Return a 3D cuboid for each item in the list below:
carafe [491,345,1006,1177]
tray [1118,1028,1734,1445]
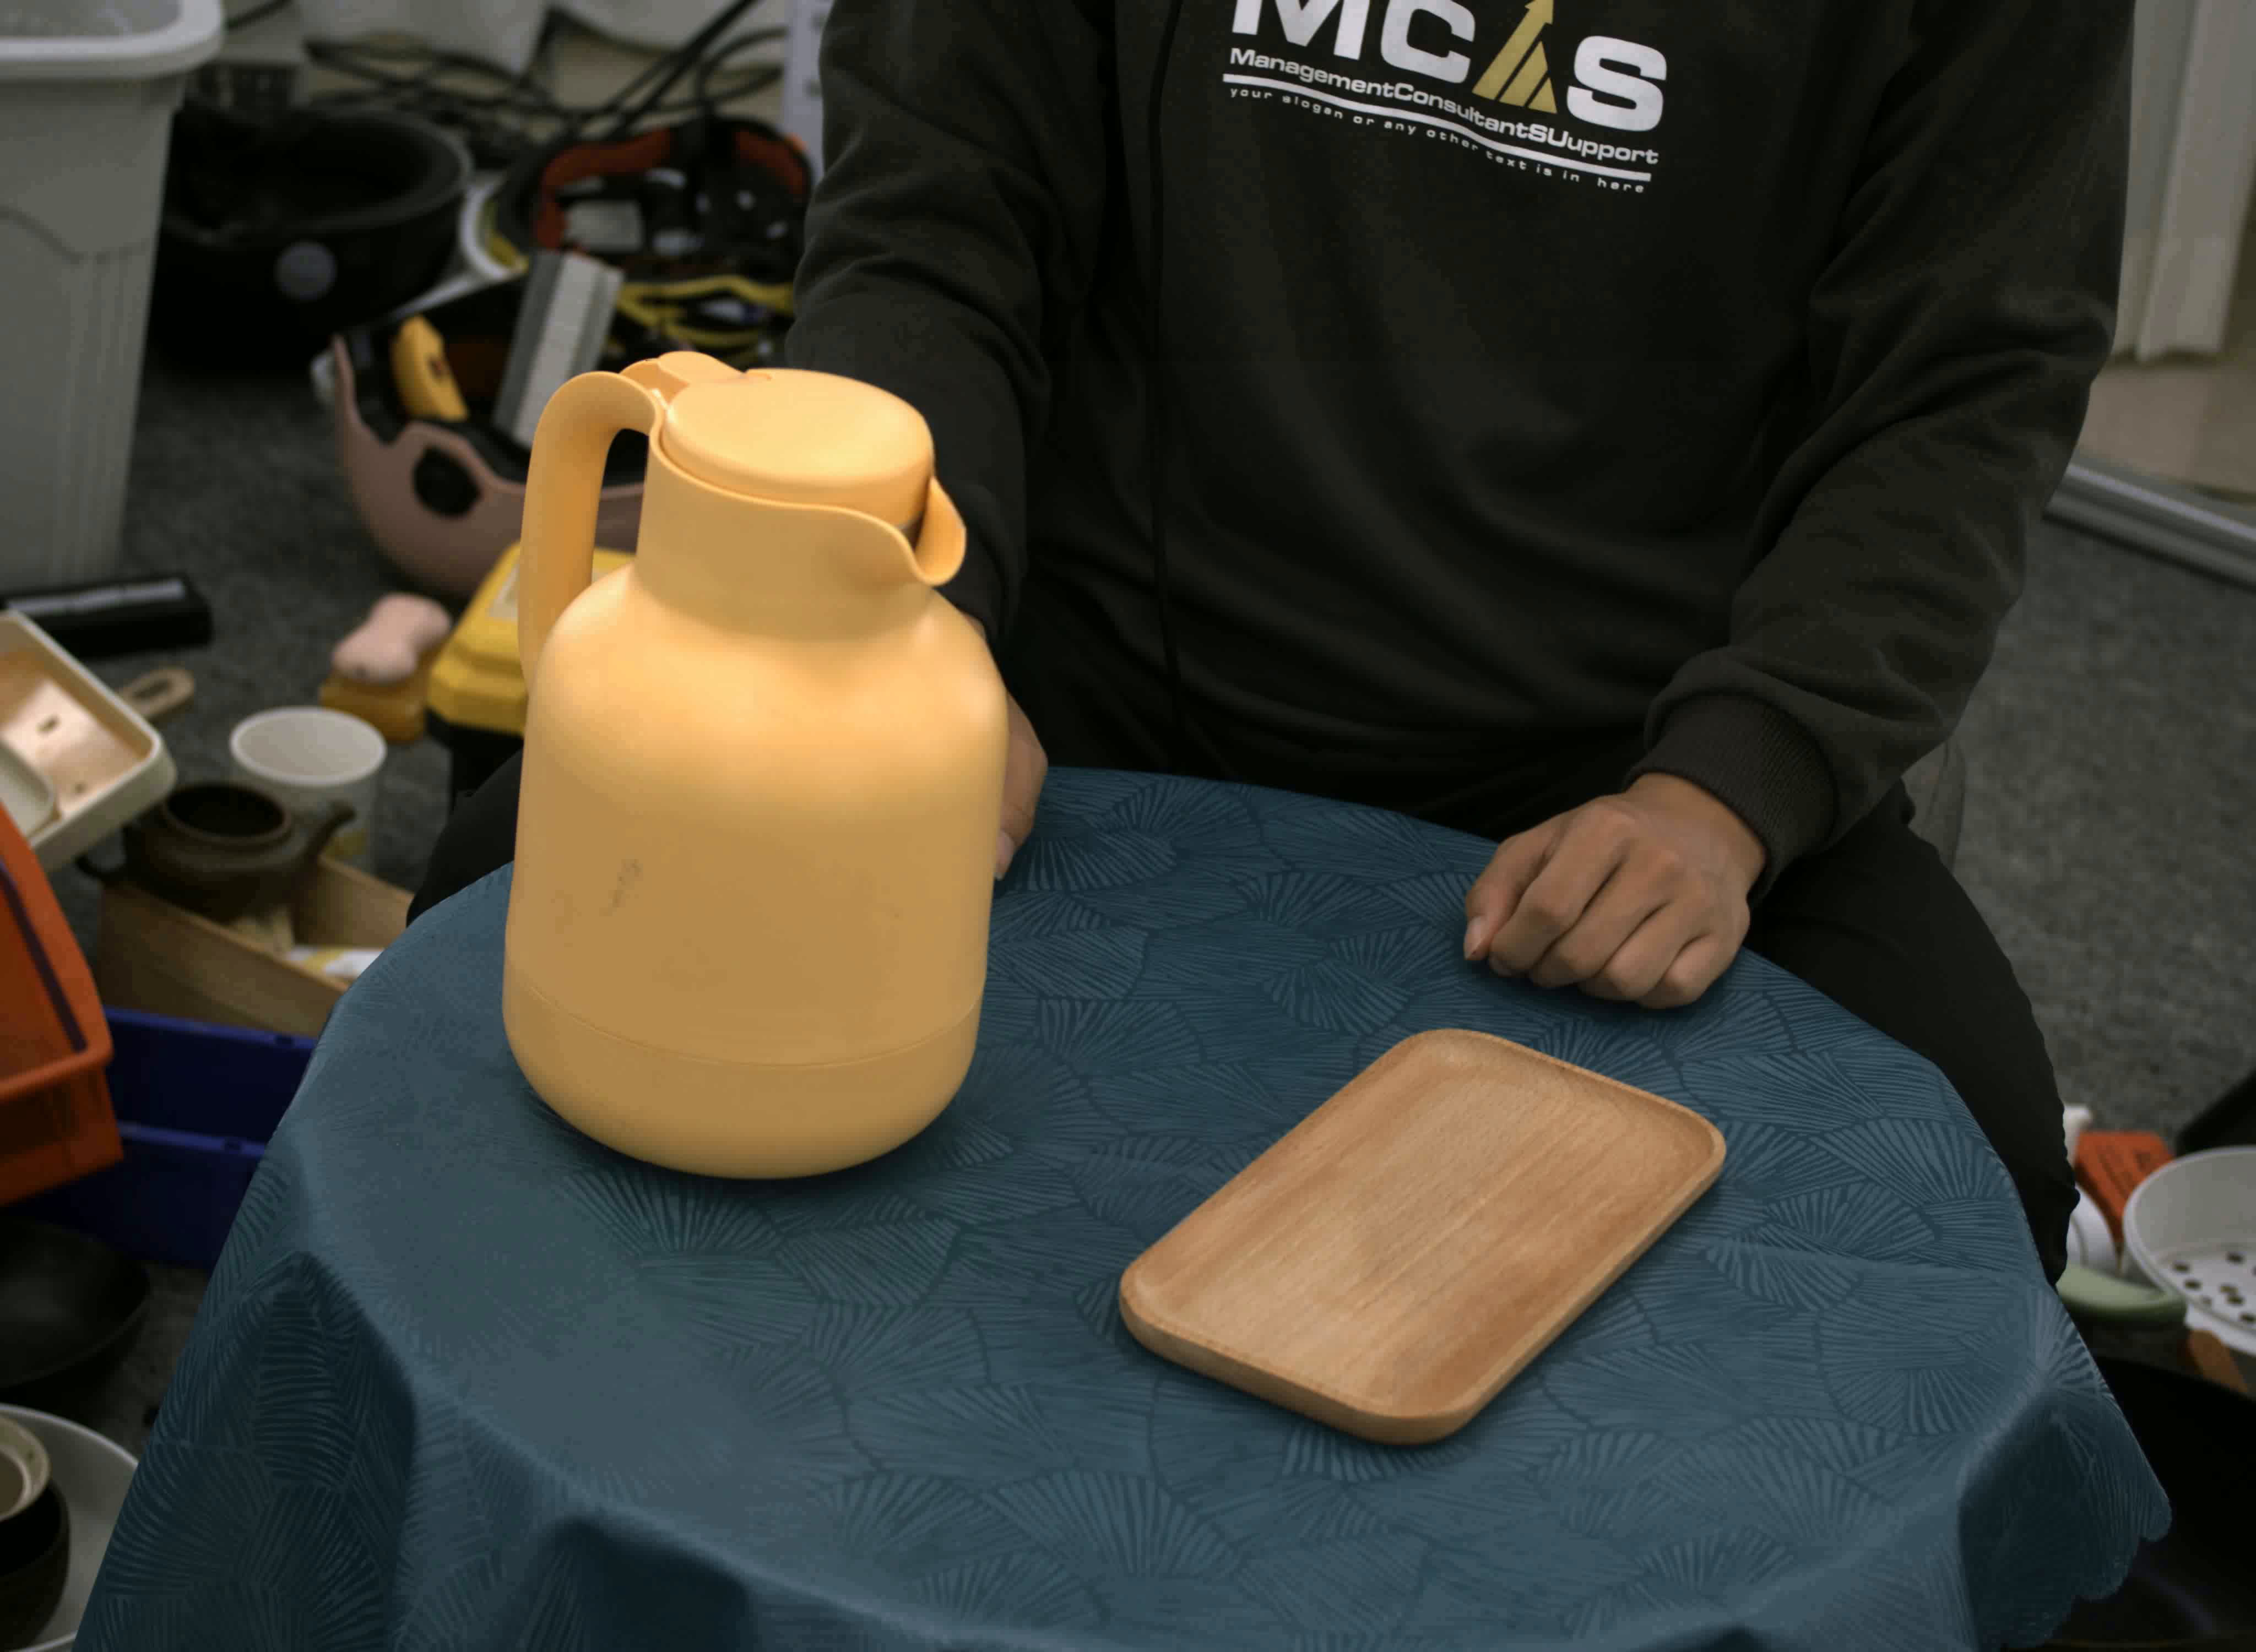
[{"bbox_3d":[-0.134,-0.031,1.791,0.162,0.260,0.204,-12,33,-40],"label":"carafe"},{"bbox_3d":[0.103,0.135,1.790,0.131,0.023,0.250,23,30,24],"label":"tray"}]
